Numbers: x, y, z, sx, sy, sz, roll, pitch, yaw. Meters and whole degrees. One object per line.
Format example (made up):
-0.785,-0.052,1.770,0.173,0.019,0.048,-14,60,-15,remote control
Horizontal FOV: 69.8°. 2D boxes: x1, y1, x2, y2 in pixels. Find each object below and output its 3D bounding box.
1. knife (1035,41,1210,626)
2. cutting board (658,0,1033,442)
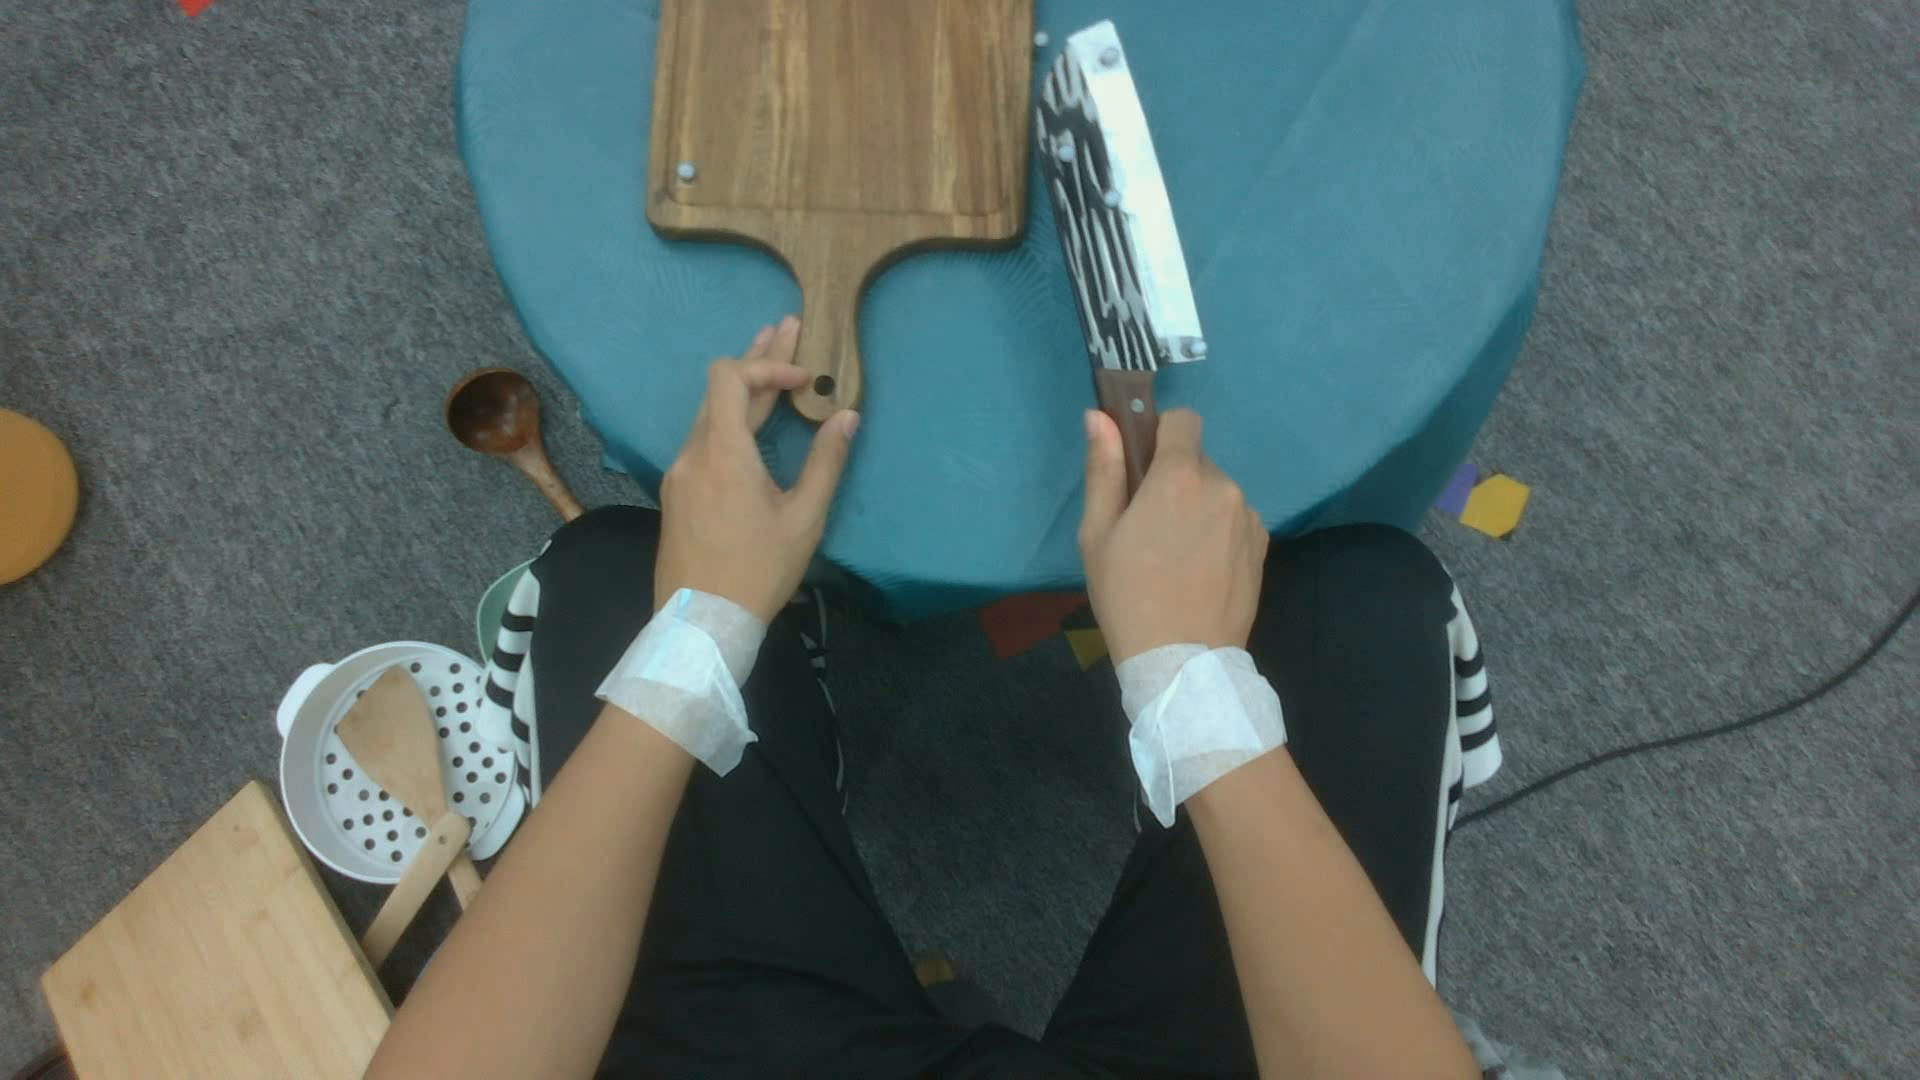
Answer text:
0.089,-0.108,0.684,0.068,0.024,0.299,-11,84,-25,knife
-0.061,-0.226,0.744,0.201,0.023,0.352,1,80,1,cutting board
